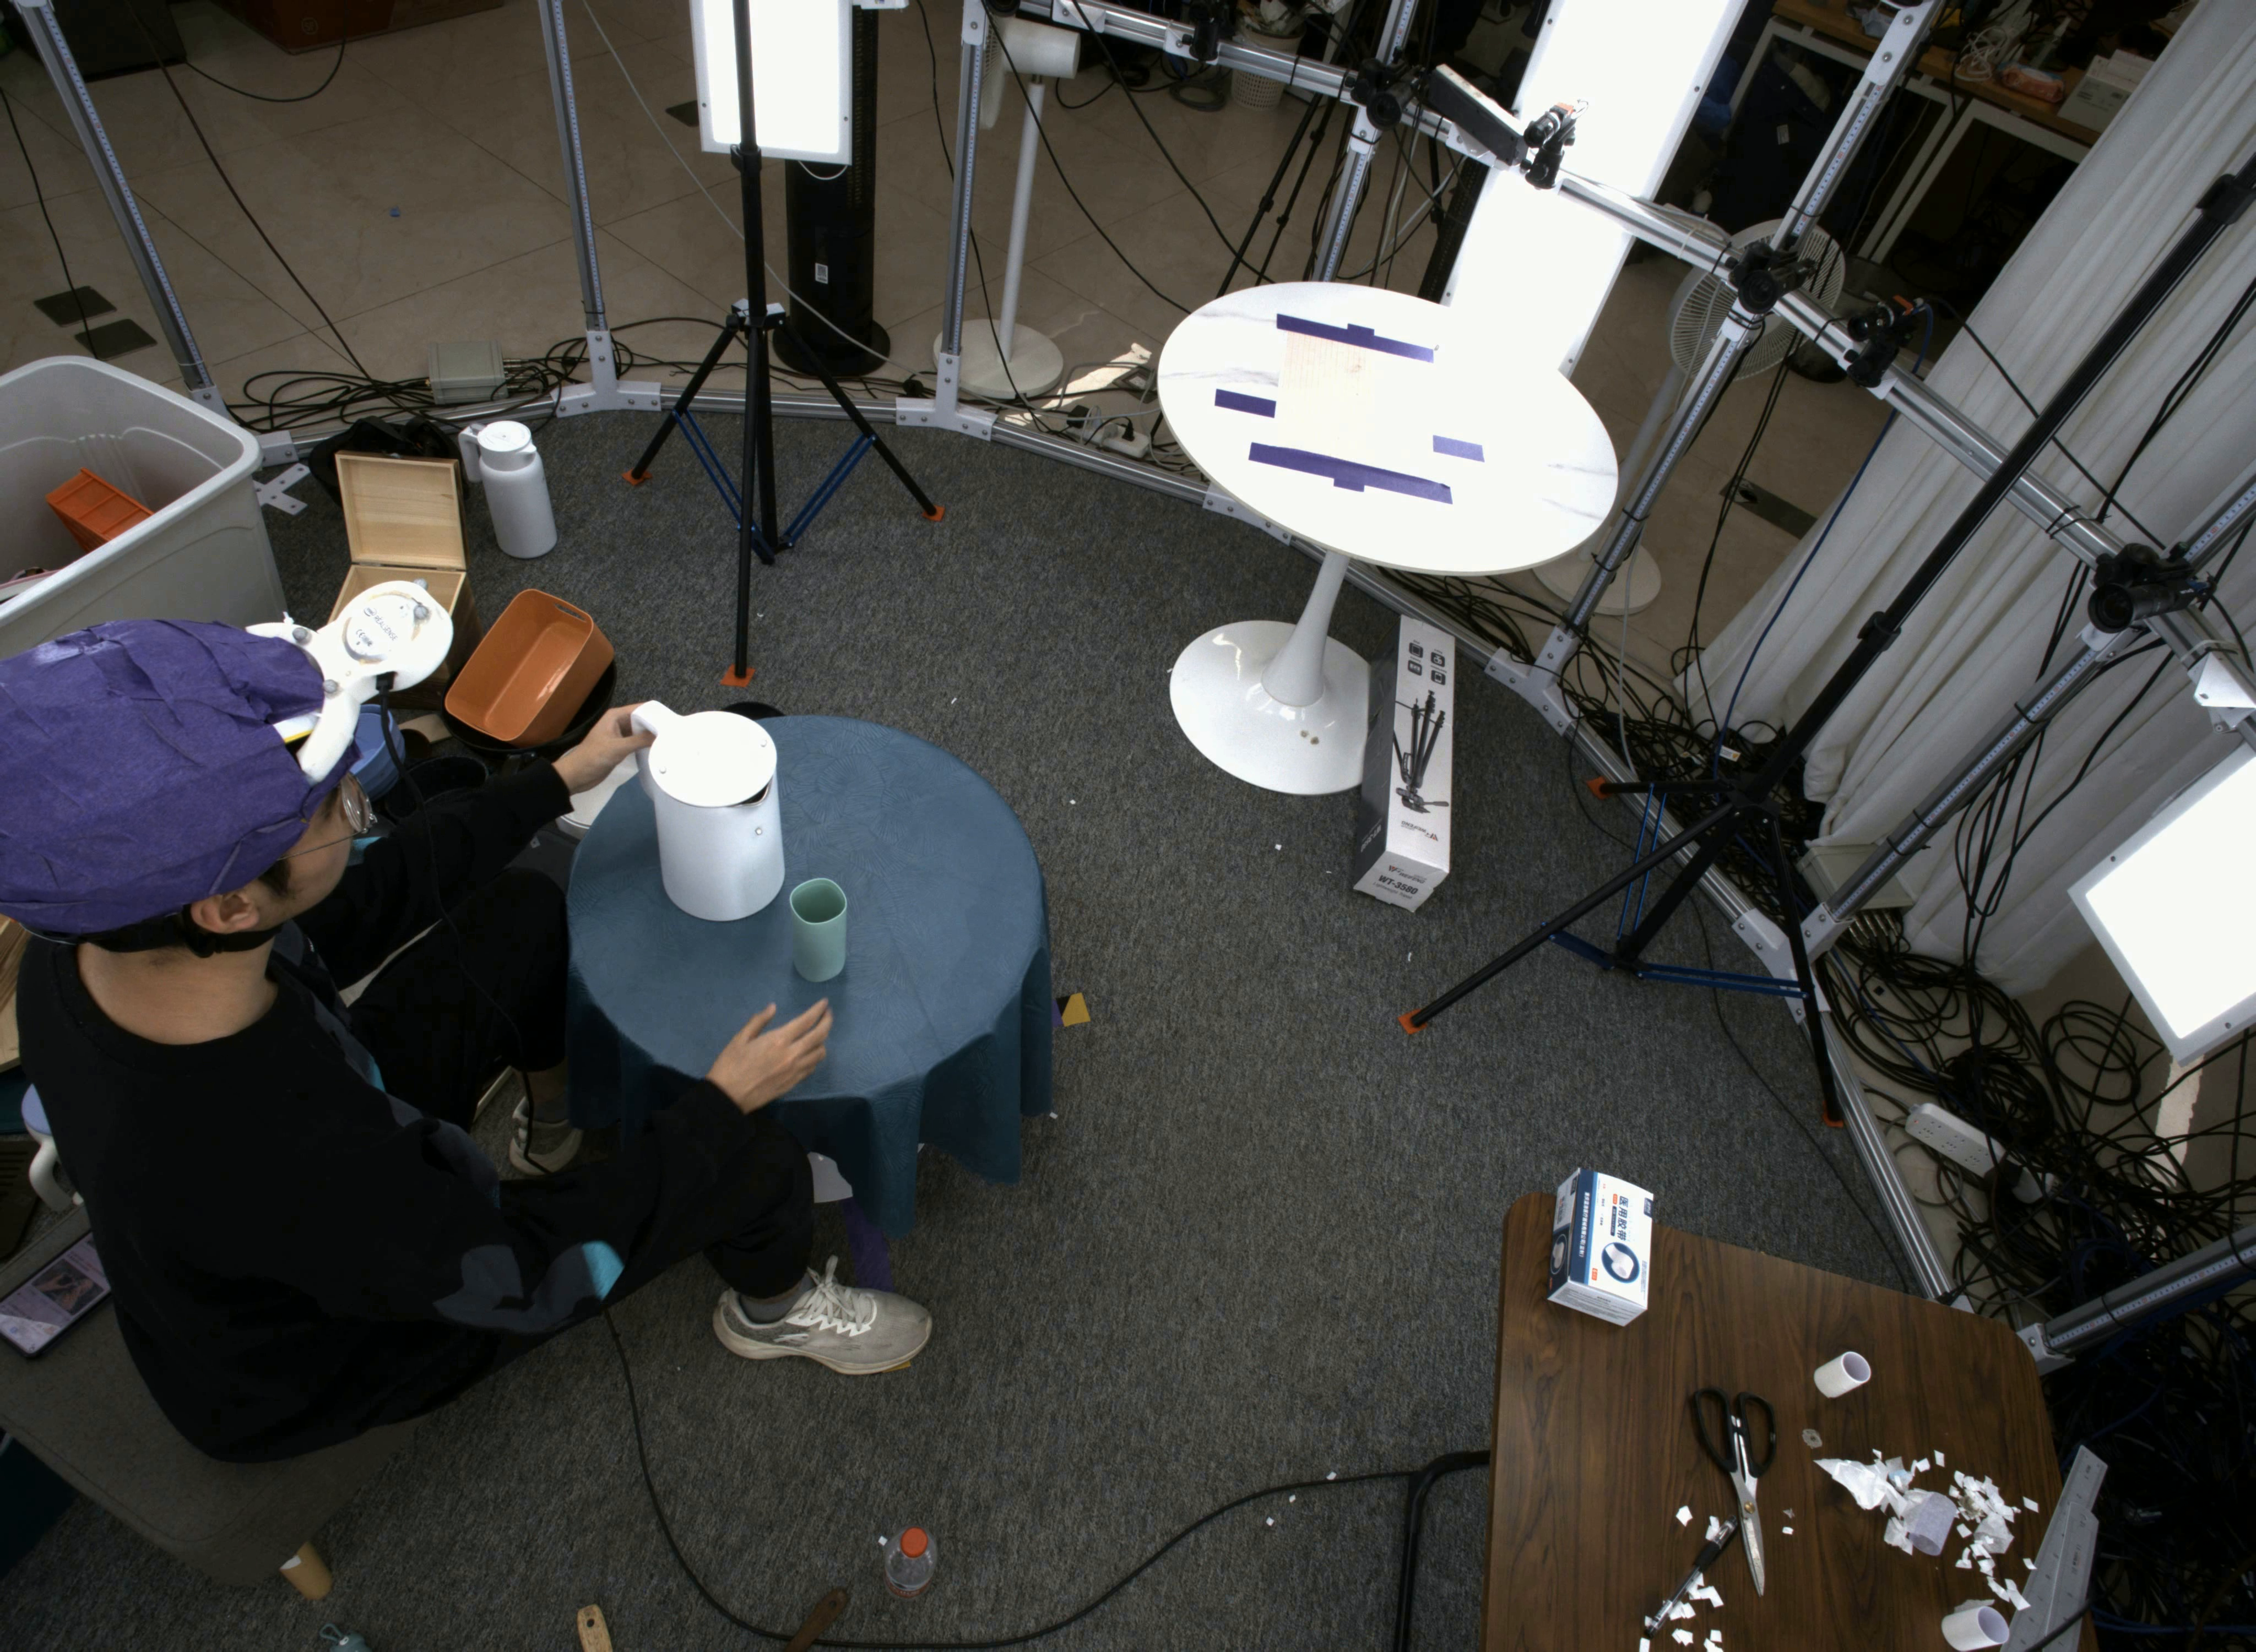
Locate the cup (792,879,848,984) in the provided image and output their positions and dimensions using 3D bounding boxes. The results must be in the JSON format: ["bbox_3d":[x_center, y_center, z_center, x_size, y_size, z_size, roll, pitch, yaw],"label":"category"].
[{"bbox_3d":[-0.374,0.127,1.569,0.066,0.135,0.065,7,51,-8],"label":"cup"}]

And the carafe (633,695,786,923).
[{"bbox_3d":[-0.518,-0.029,1.576,0.209,0.245,0.152,36,53,14],"label":"carafe"}]
